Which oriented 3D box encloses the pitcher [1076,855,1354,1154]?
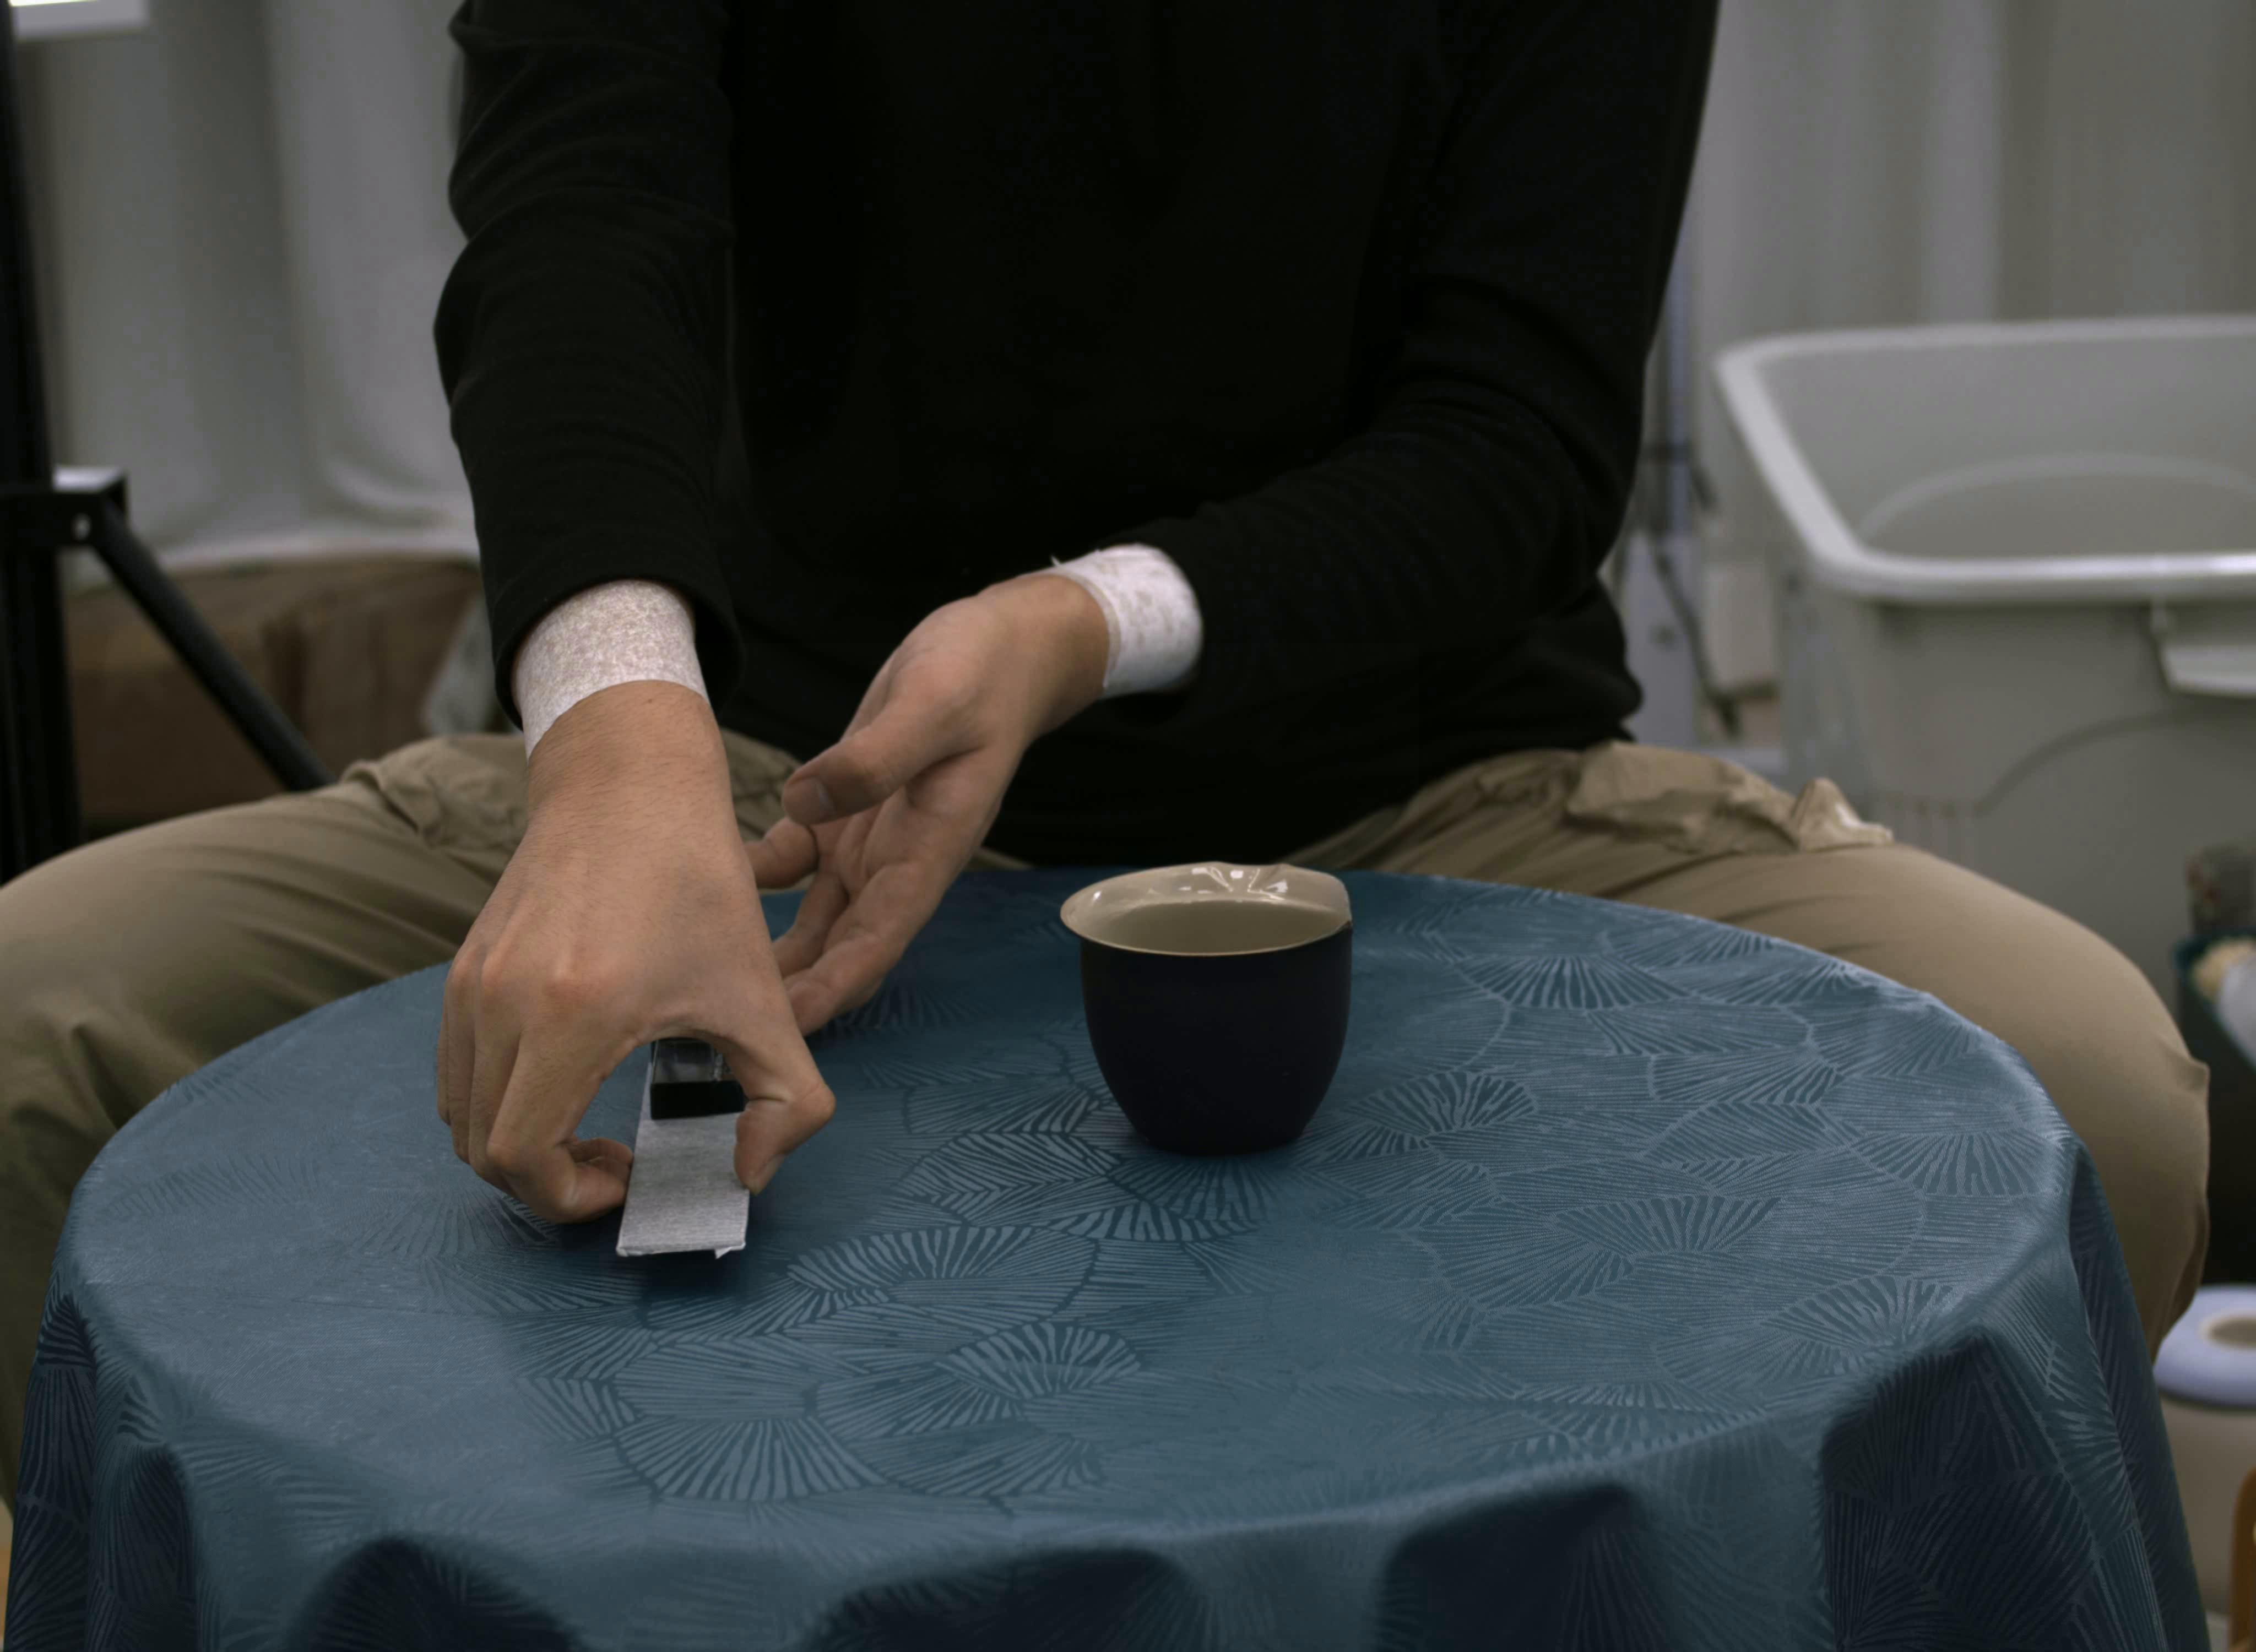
[{"bbox_3d":[0.029,0.056,1.603,0.084,0.071,0.095,1,17,16],"label":"pitcher"}]

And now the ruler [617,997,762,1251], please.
[{"bbox_3d":[-0.131,0.086,1.592,0.038,0.024,0.219,-10,11,0],"label":"ruler"}]
